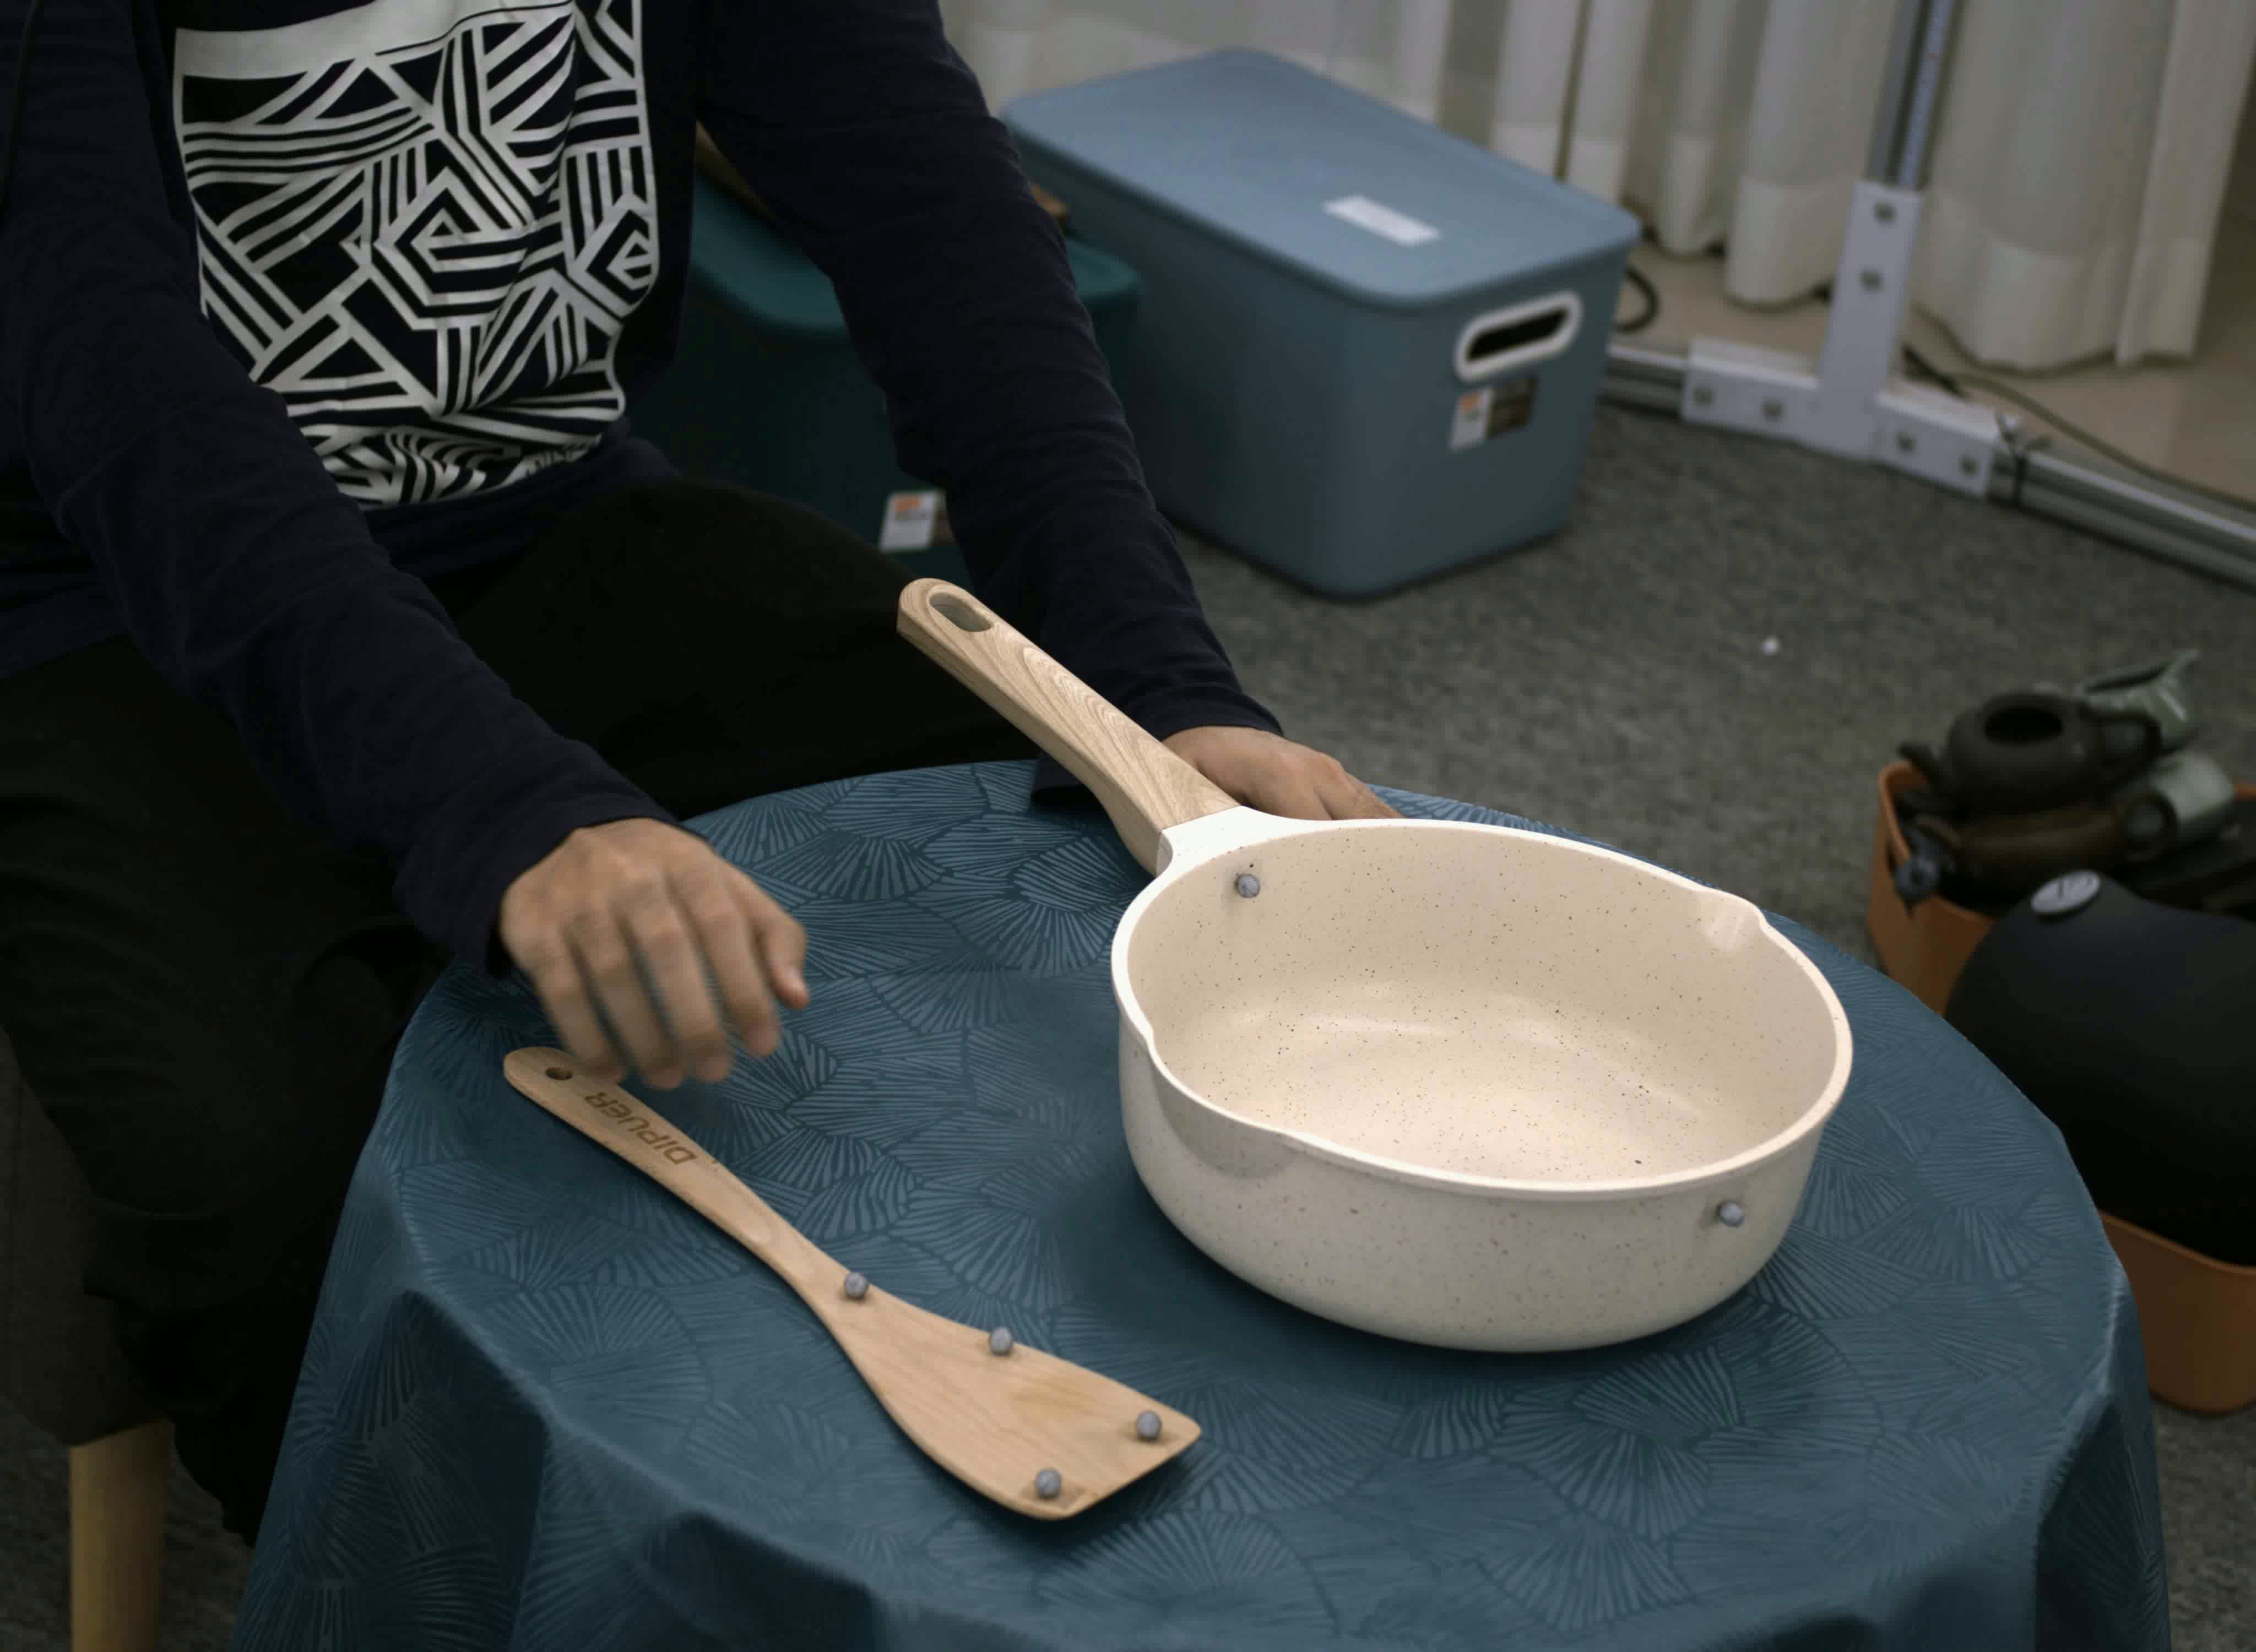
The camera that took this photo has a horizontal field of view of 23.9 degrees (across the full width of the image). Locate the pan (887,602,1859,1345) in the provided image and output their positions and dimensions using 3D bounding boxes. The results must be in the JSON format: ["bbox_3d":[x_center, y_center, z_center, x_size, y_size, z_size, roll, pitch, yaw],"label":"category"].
[{"bbox_3d":[0.058,0.047,1.870,0.262,0.101,0.438,-18,35,-38],"label":"pan"}]

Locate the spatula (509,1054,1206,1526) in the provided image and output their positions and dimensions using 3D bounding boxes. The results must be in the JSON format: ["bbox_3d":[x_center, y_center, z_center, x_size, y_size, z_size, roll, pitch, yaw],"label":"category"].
[{"bbox_3d":[-0.101,0.144,1.737,0.079,0.016,0.330,-17,35,-38],"label":"spatula"}]
